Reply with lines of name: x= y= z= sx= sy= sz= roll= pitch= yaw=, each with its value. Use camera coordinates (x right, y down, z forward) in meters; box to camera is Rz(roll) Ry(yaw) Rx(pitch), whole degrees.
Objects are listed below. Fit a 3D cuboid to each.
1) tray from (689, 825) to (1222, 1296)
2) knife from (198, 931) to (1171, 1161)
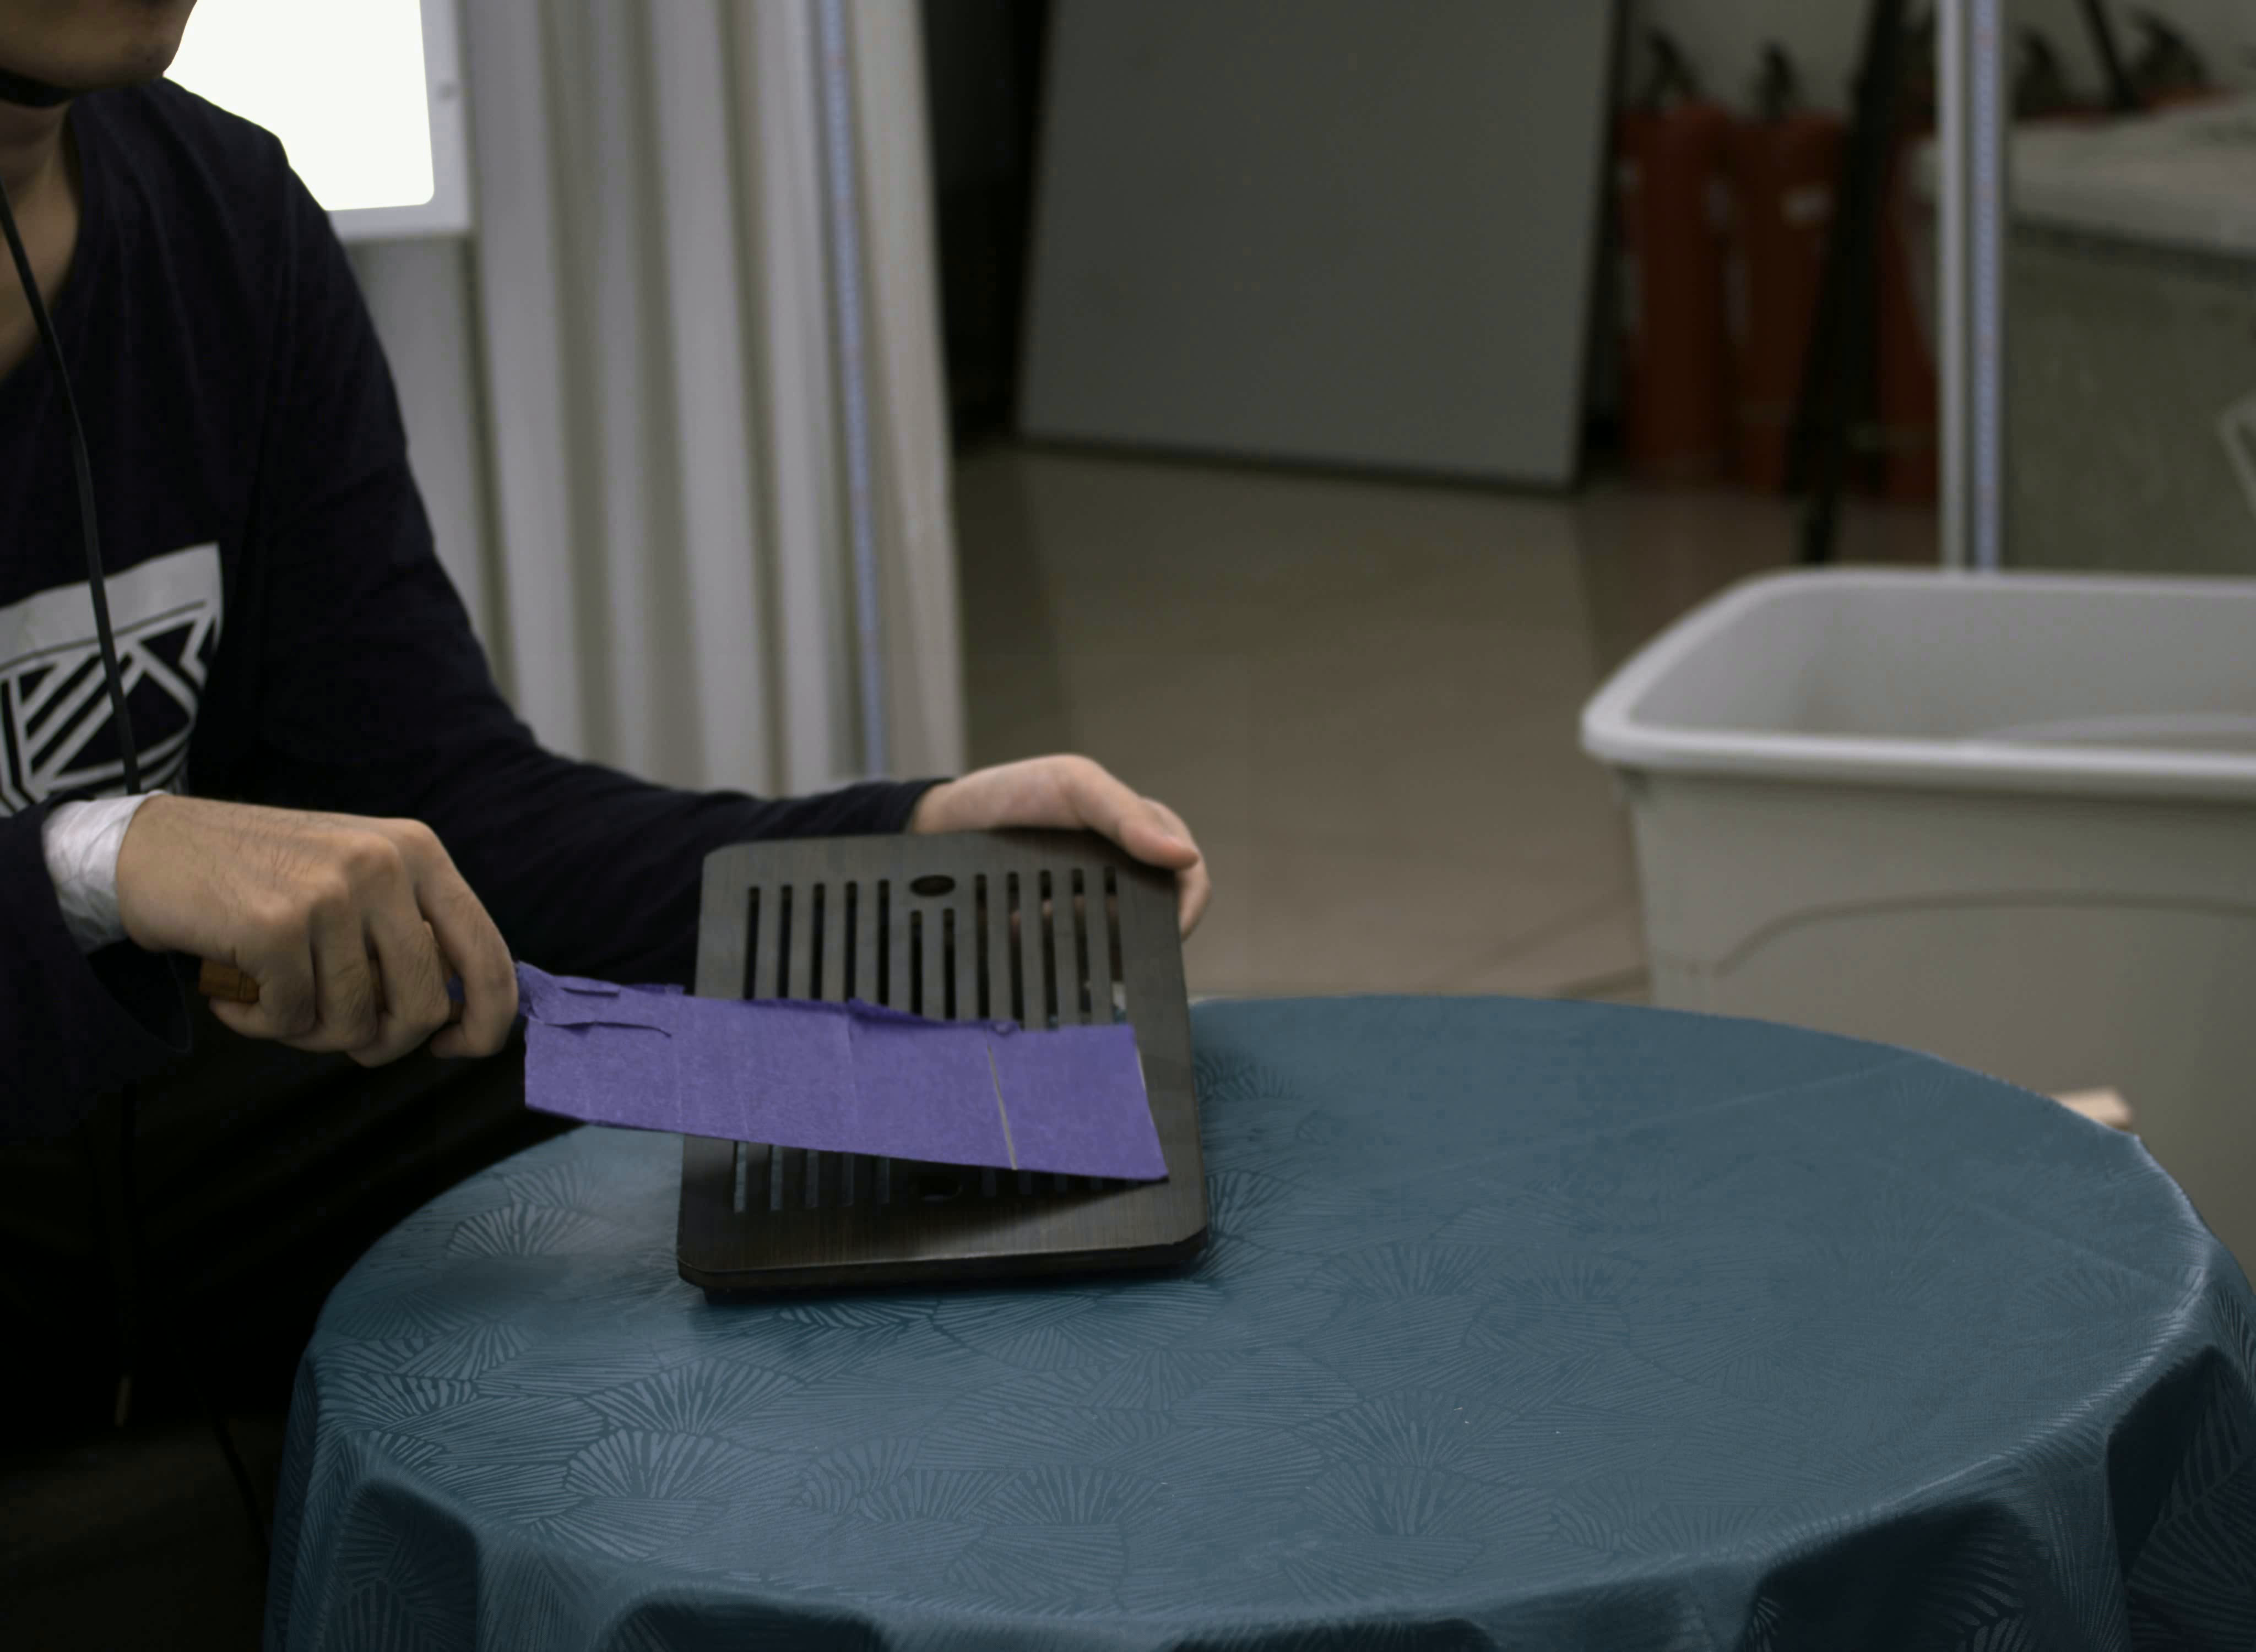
tray: x=-0.058 y=0.077 z=1.819 sx=0.168 sy=0.019 sz=0.307 roll=-4 pitch=25 yaw=0
knife: x=-0.141 y=0.072 z=1.733 sx=0.310 sy=0.032 sz=0.104 roll=3 pitch=27 yaw=-7
